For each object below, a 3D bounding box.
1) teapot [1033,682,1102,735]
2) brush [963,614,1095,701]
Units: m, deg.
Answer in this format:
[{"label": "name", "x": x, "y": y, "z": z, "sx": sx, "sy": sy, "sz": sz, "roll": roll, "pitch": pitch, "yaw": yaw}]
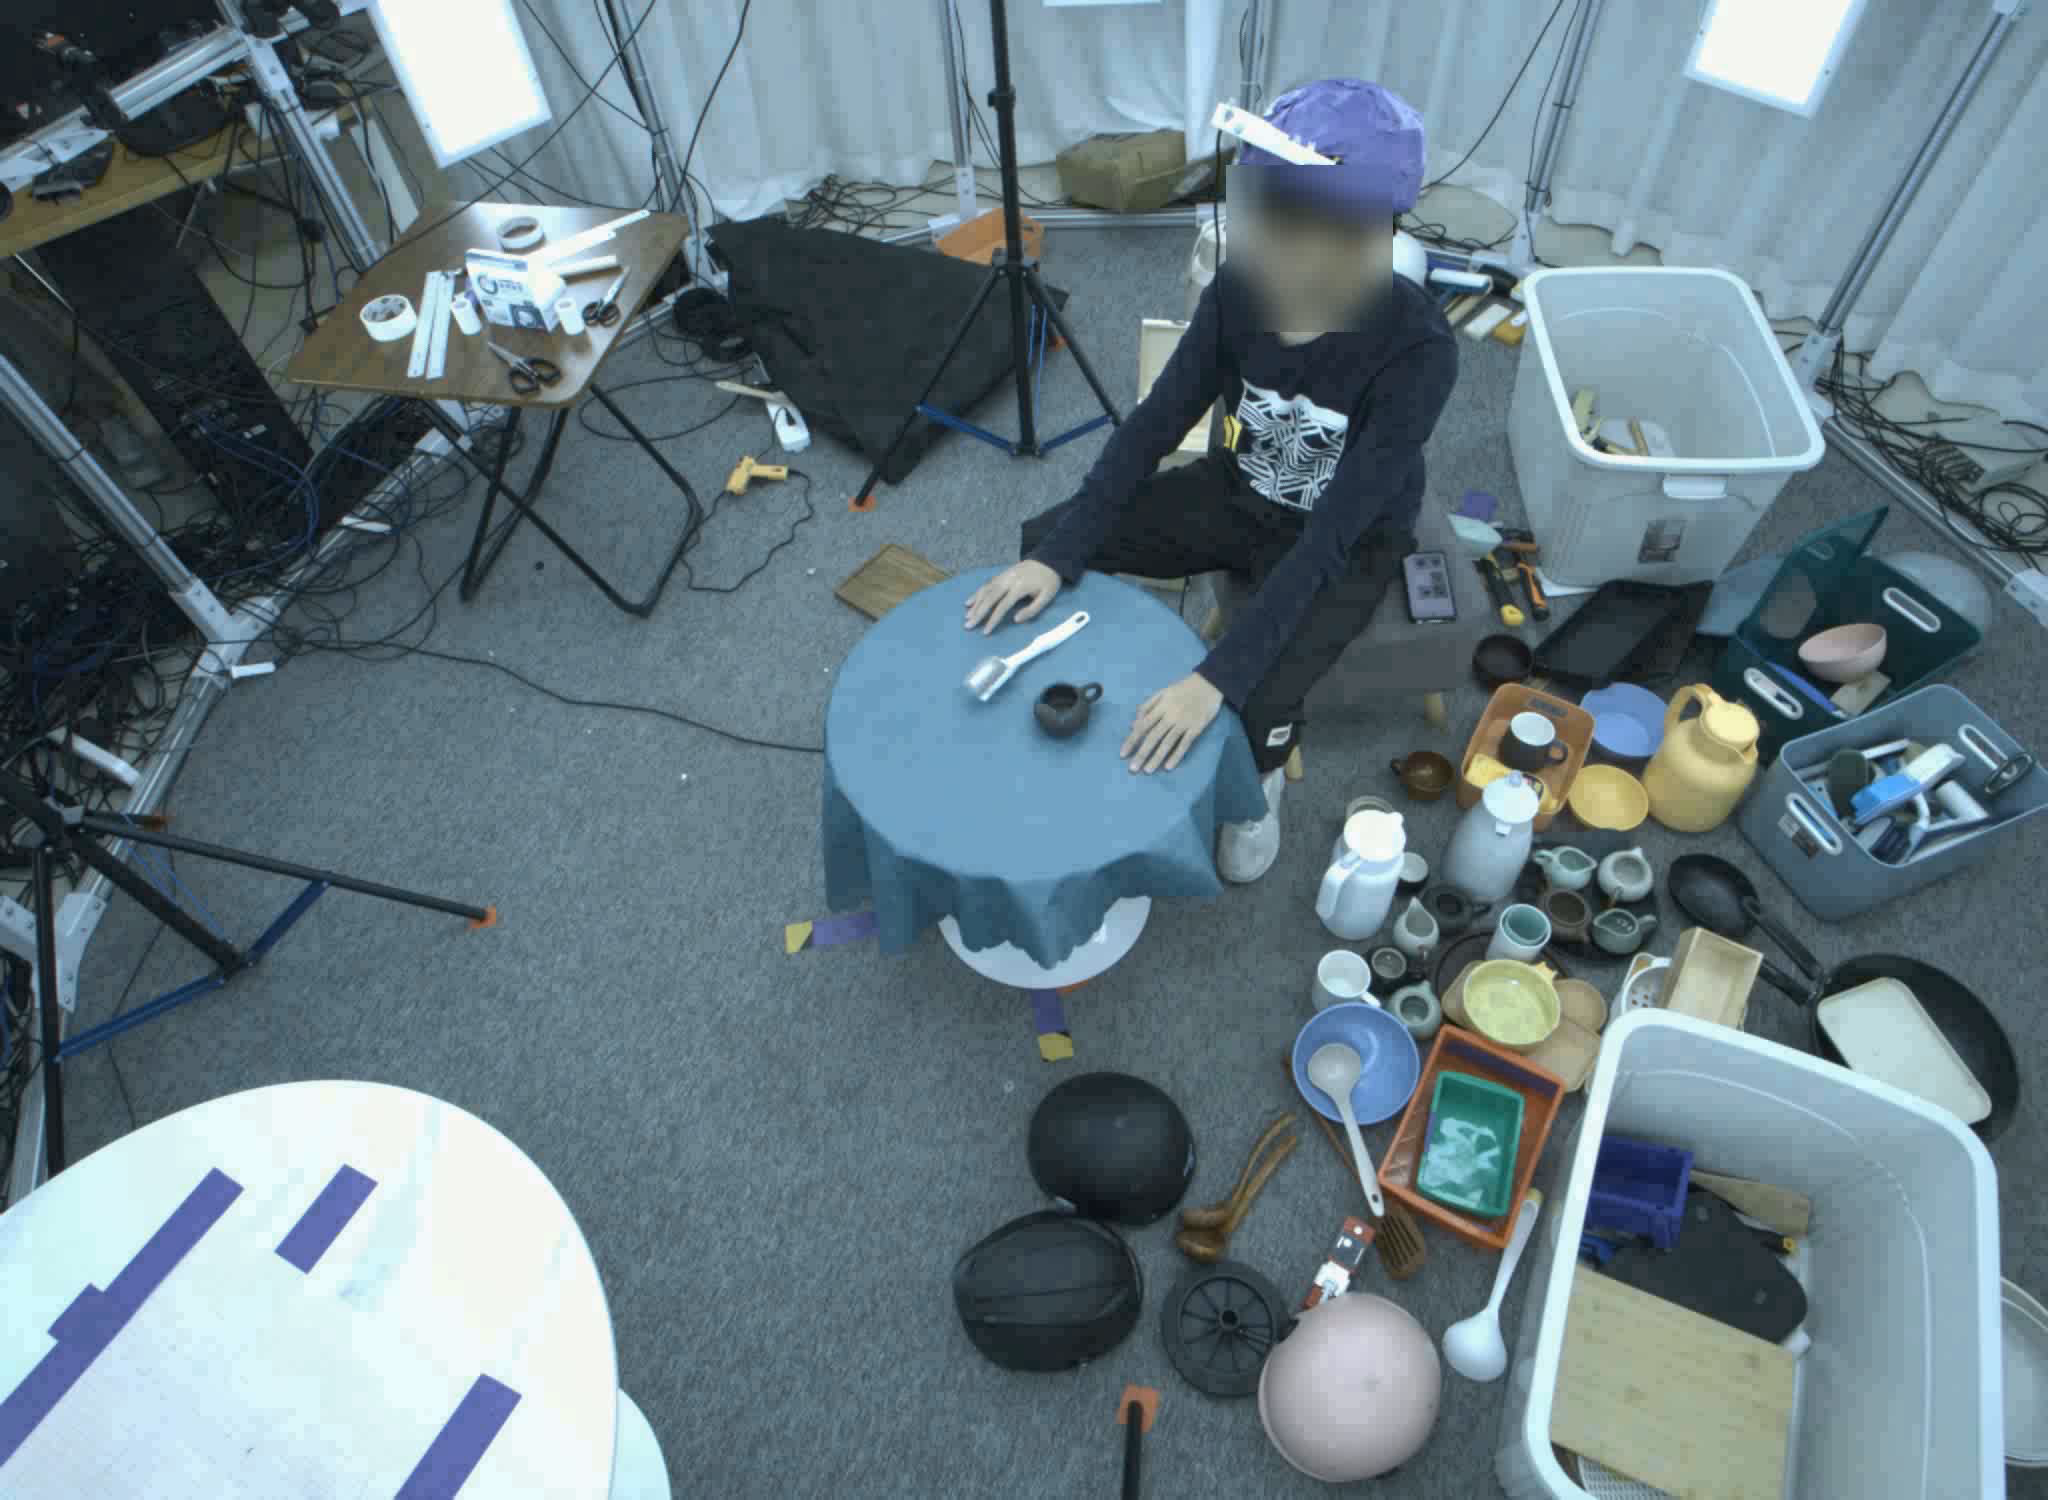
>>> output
[{"label": "teapot", "x": 0.064, "y": -0.067, "z": 1.794, "sx": 0.115, "sy": 0.053, "sz": 0.081, "roll": -26, "pitch": 56, "yaw": -15}, {"label": "brush", "x": 0.011, "y": -0.154, "z": 1.860, "sx": 0.245, "sy": 0.051, "sz": 0.033, "roll": -35, "pitch": 55, "yaw": -20}]
